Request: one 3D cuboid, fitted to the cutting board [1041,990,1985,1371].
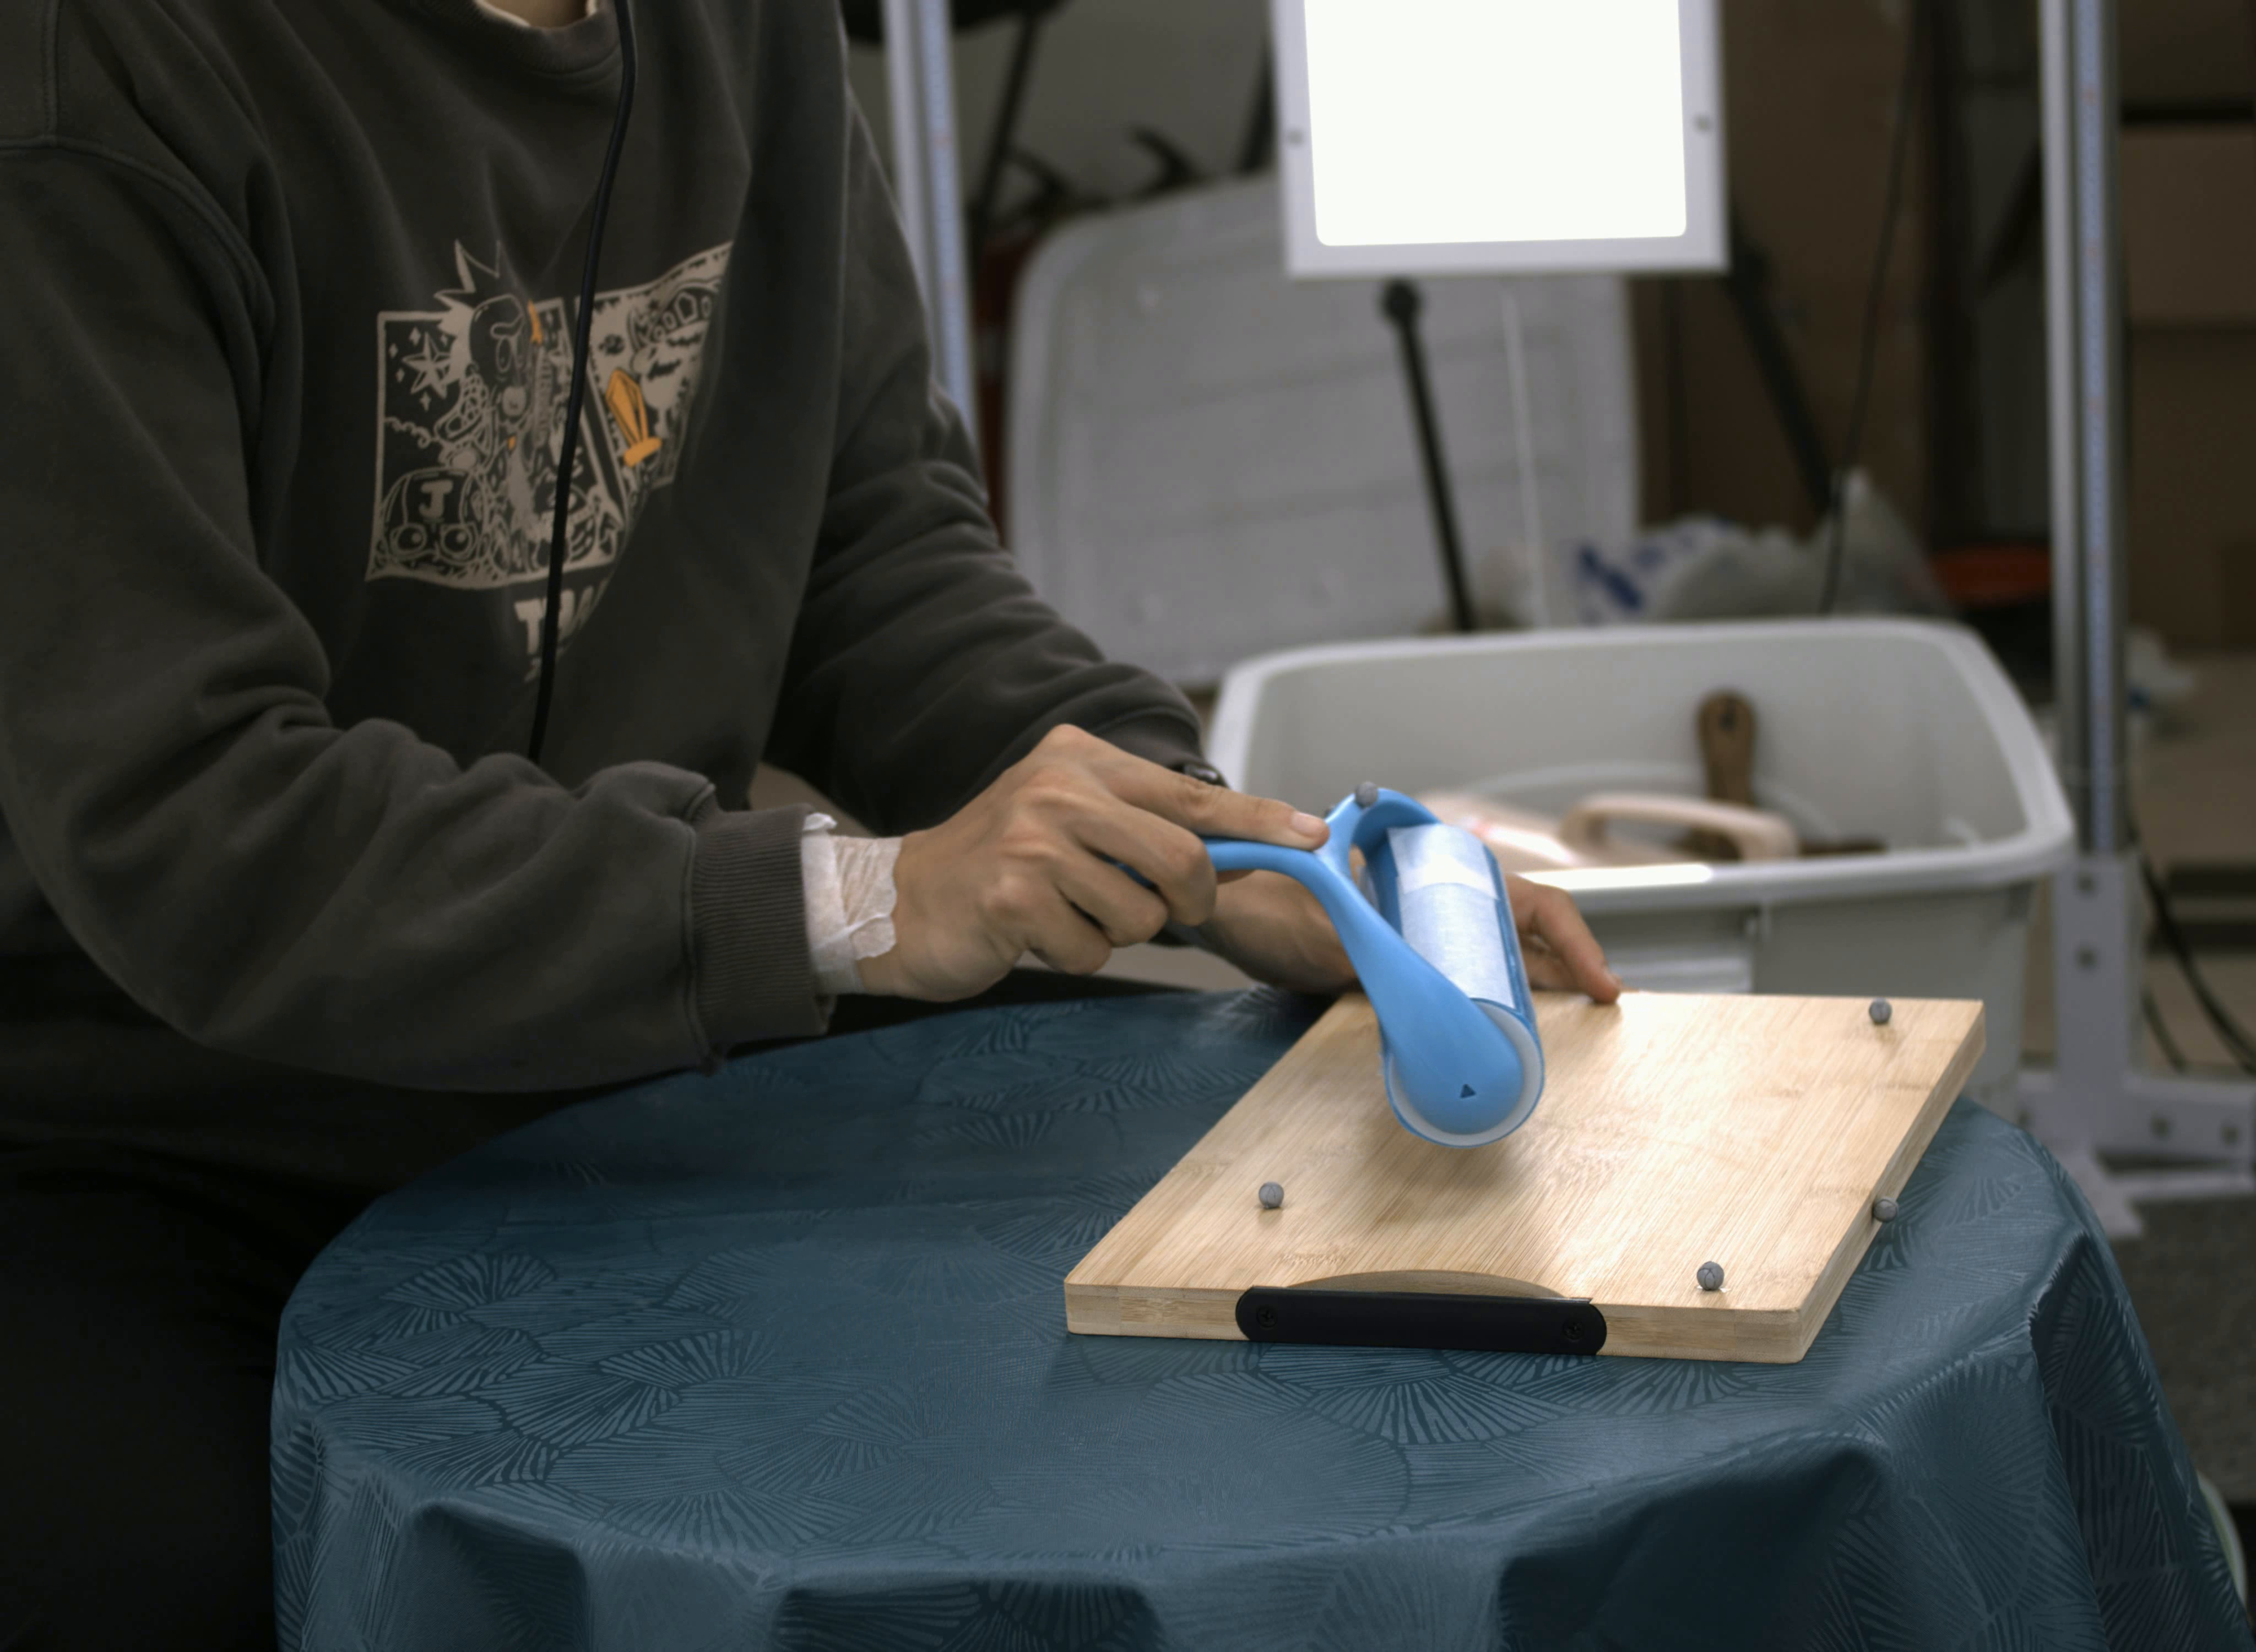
[{"bbox_3d":[0.142,0.114,1.860,0.254,0.023,0.343,-1,14,19],"label":"cutting board"}]

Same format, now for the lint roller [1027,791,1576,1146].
[{"bbox_3d":[0.060,0.036,1.883,0.179,0.068,0.229,14,17,-8],"label":"lint roller"}]
